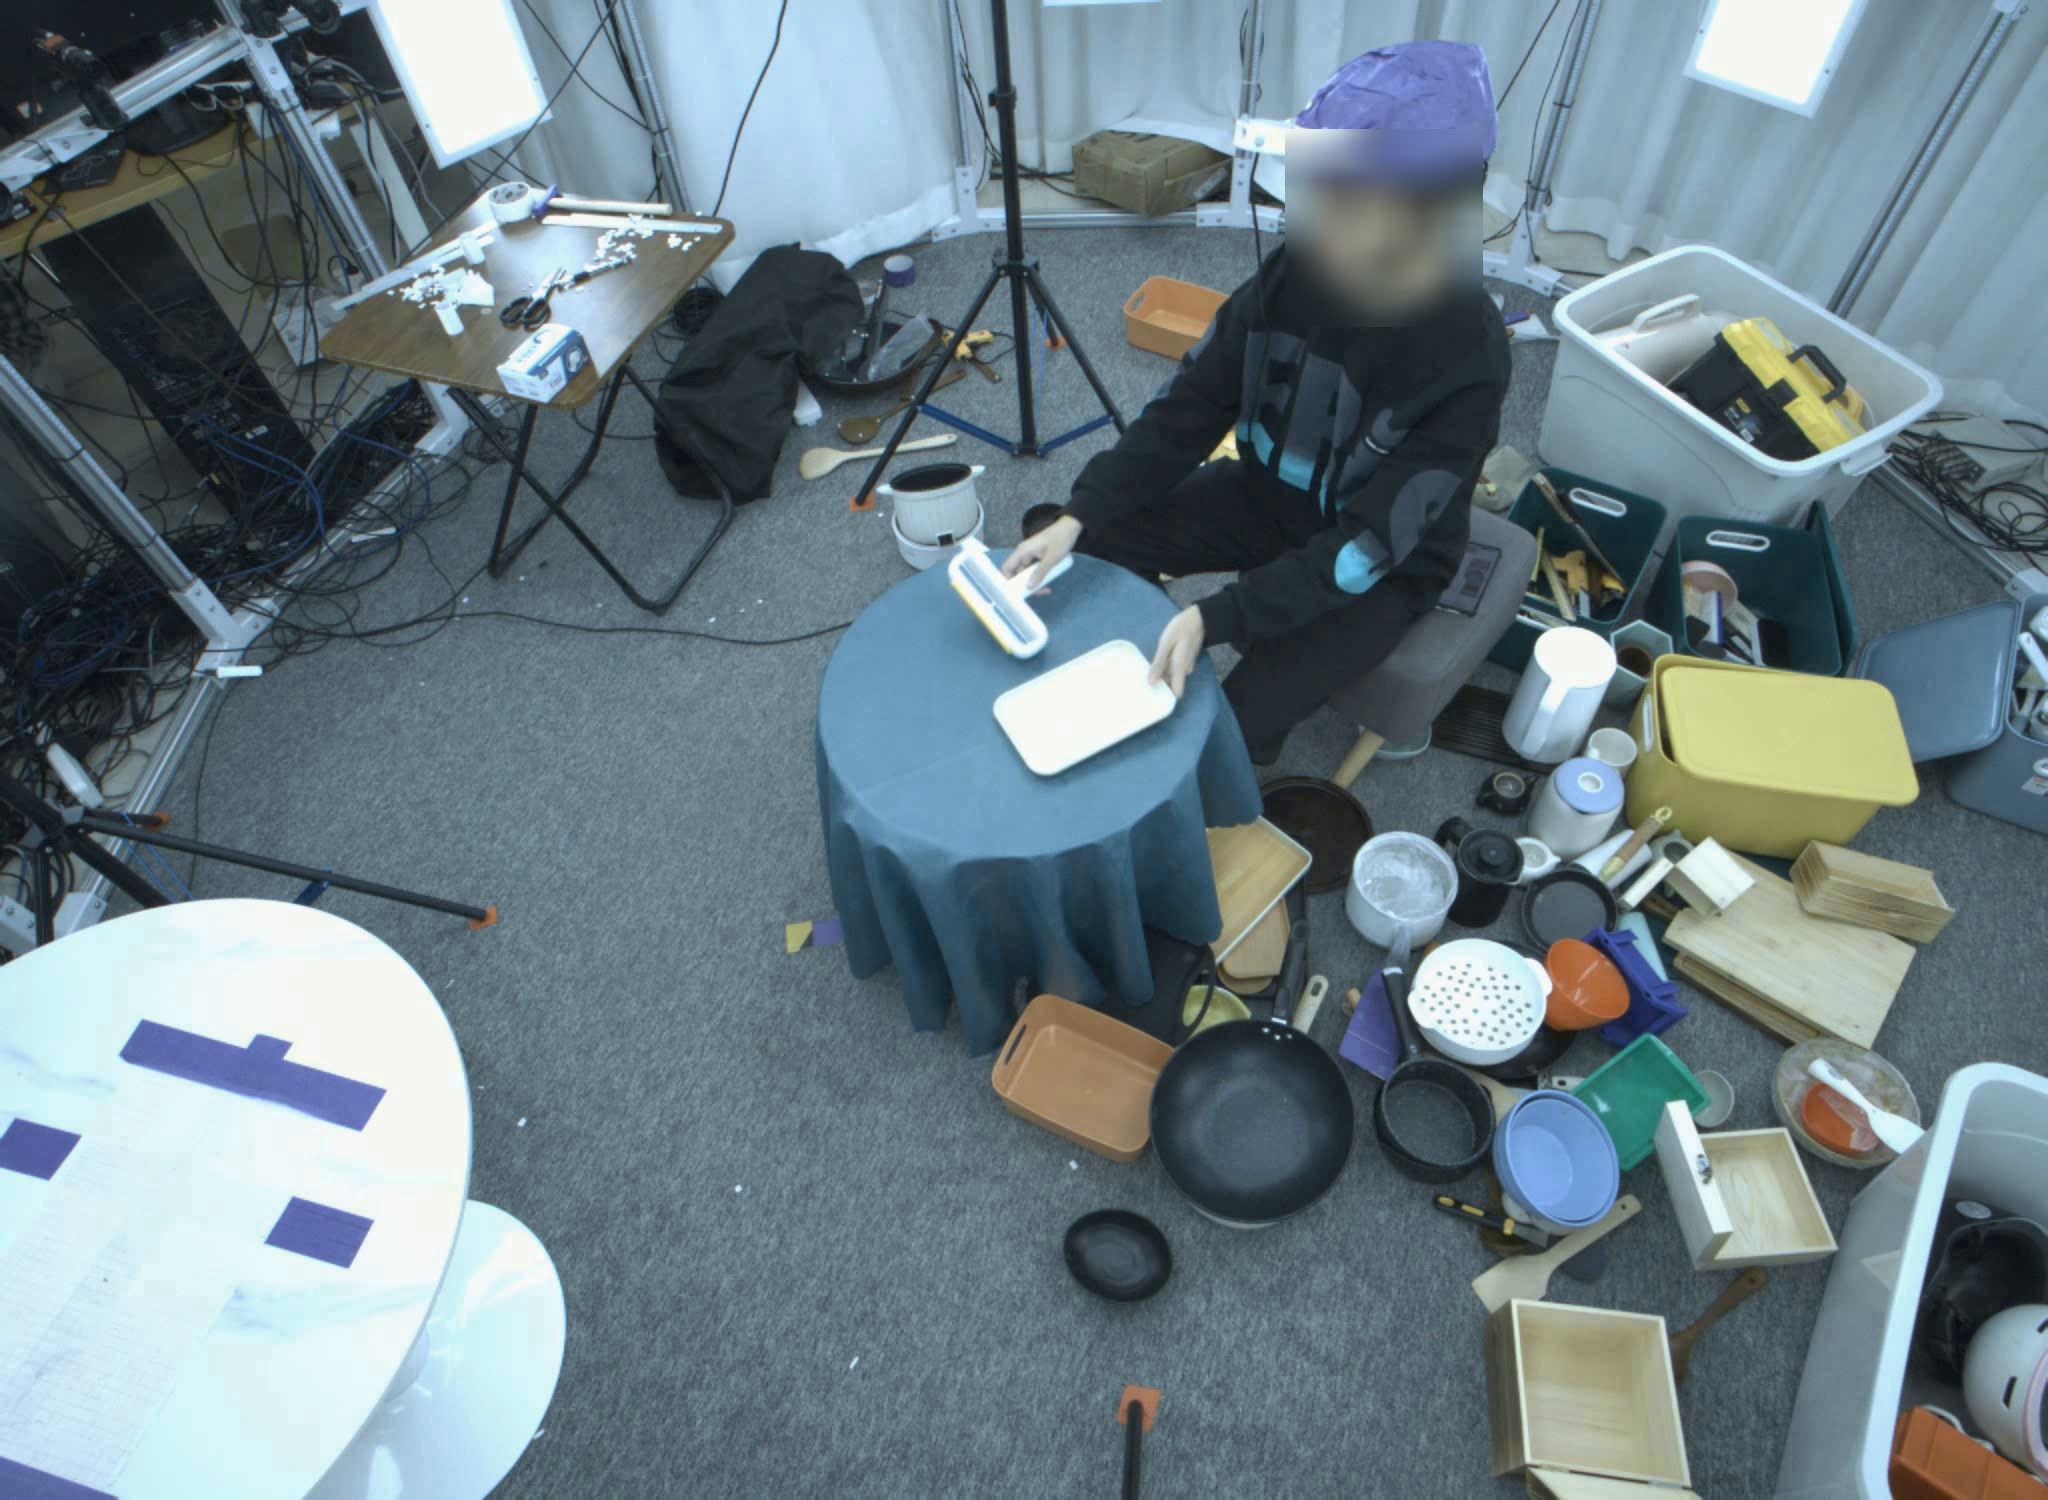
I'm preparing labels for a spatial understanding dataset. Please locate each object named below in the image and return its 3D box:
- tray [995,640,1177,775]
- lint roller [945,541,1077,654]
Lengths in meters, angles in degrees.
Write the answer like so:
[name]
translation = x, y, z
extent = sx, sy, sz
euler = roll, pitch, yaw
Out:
[tray]
translation = 0.090, -0.063, 1.800
extent = 0.241, 0.018, 0.168
euler = -26, 54, -10
[lint roller]
translation = 0.001, -0.261, 1.889
extent = 0.193, 0.074, 0.192
euler = -36, 82, -14
